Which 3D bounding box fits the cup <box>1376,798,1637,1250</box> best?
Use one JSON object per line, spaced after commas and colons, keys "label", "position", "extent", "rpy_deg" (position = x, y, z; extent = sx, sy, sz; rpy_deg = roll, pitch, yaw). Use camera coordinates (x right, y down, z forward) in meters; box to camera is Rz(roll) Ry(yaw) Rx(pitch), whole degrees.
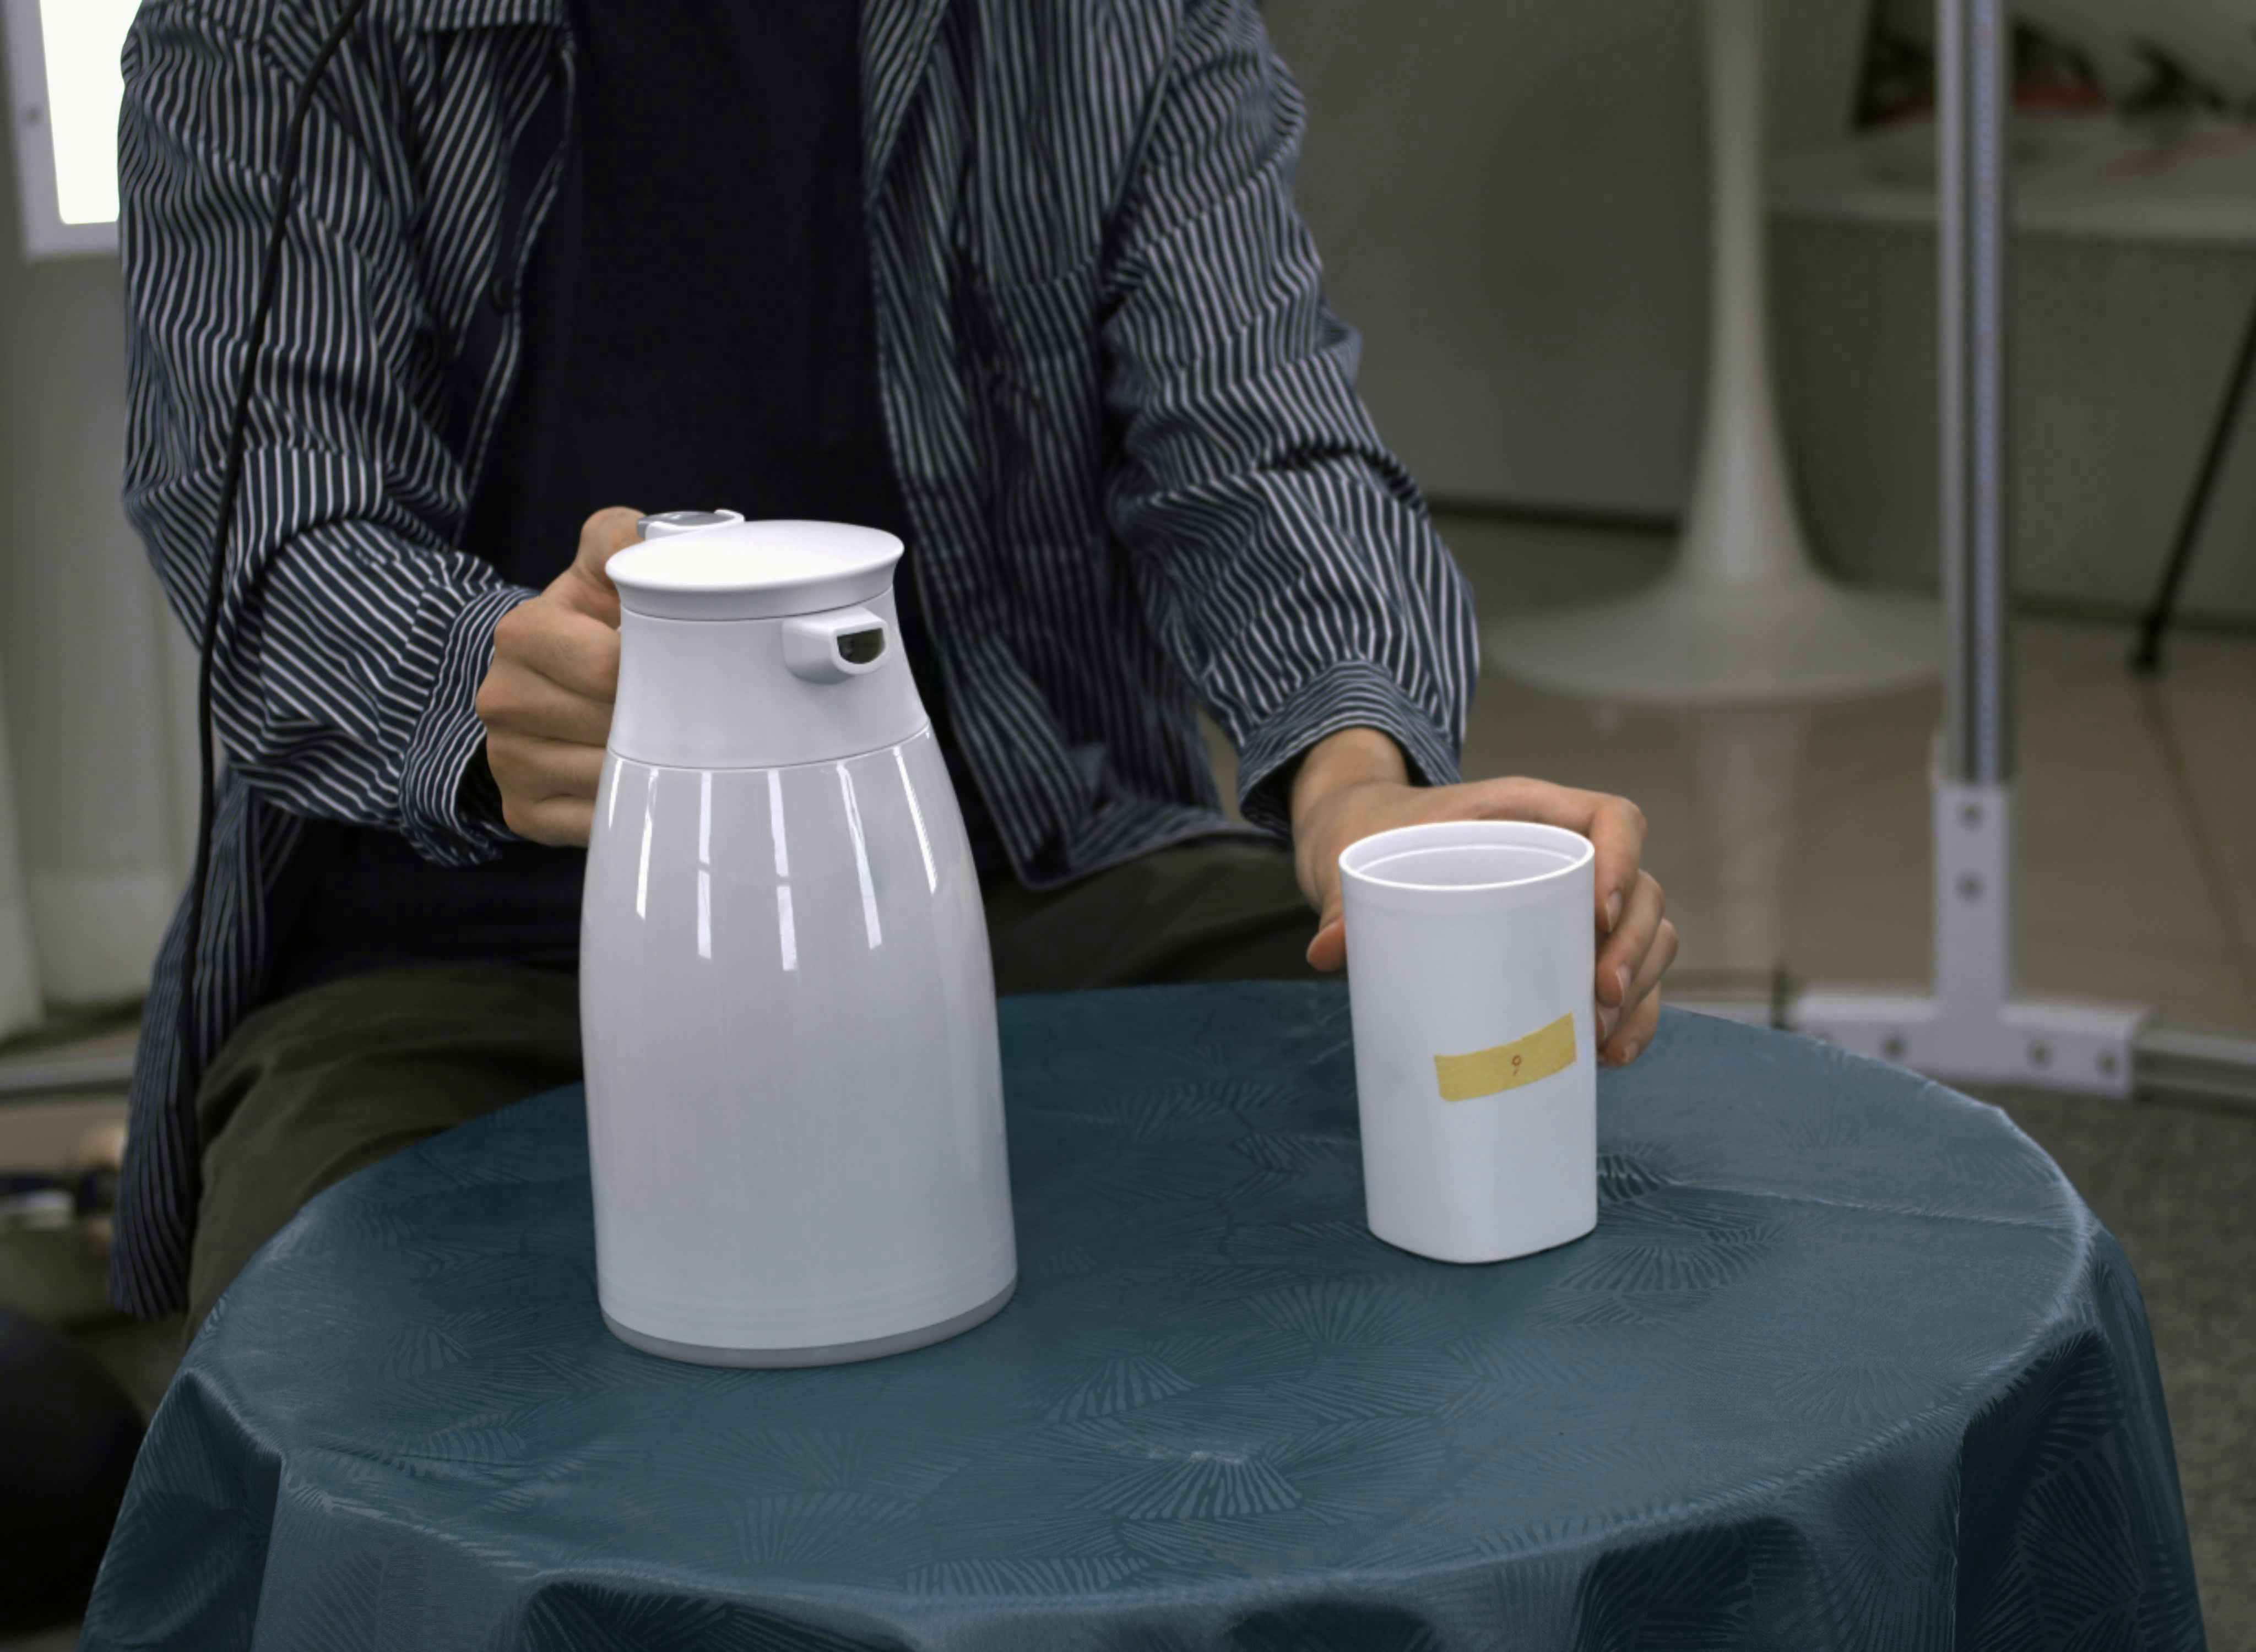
{"label": "cup", "position": [0.122, 0.062, 1.695], "extent": [0.080, 0.127, 0.082], "rpy_deg": [-5, 14, 0]}

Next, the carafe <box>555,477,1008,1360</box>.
{"label": "carafe", "position": [-0.121, 0.020, 1.672], "extent": [0.130, 0.251, 0.169], "rpy_deg": [-16, 20, -37]}
